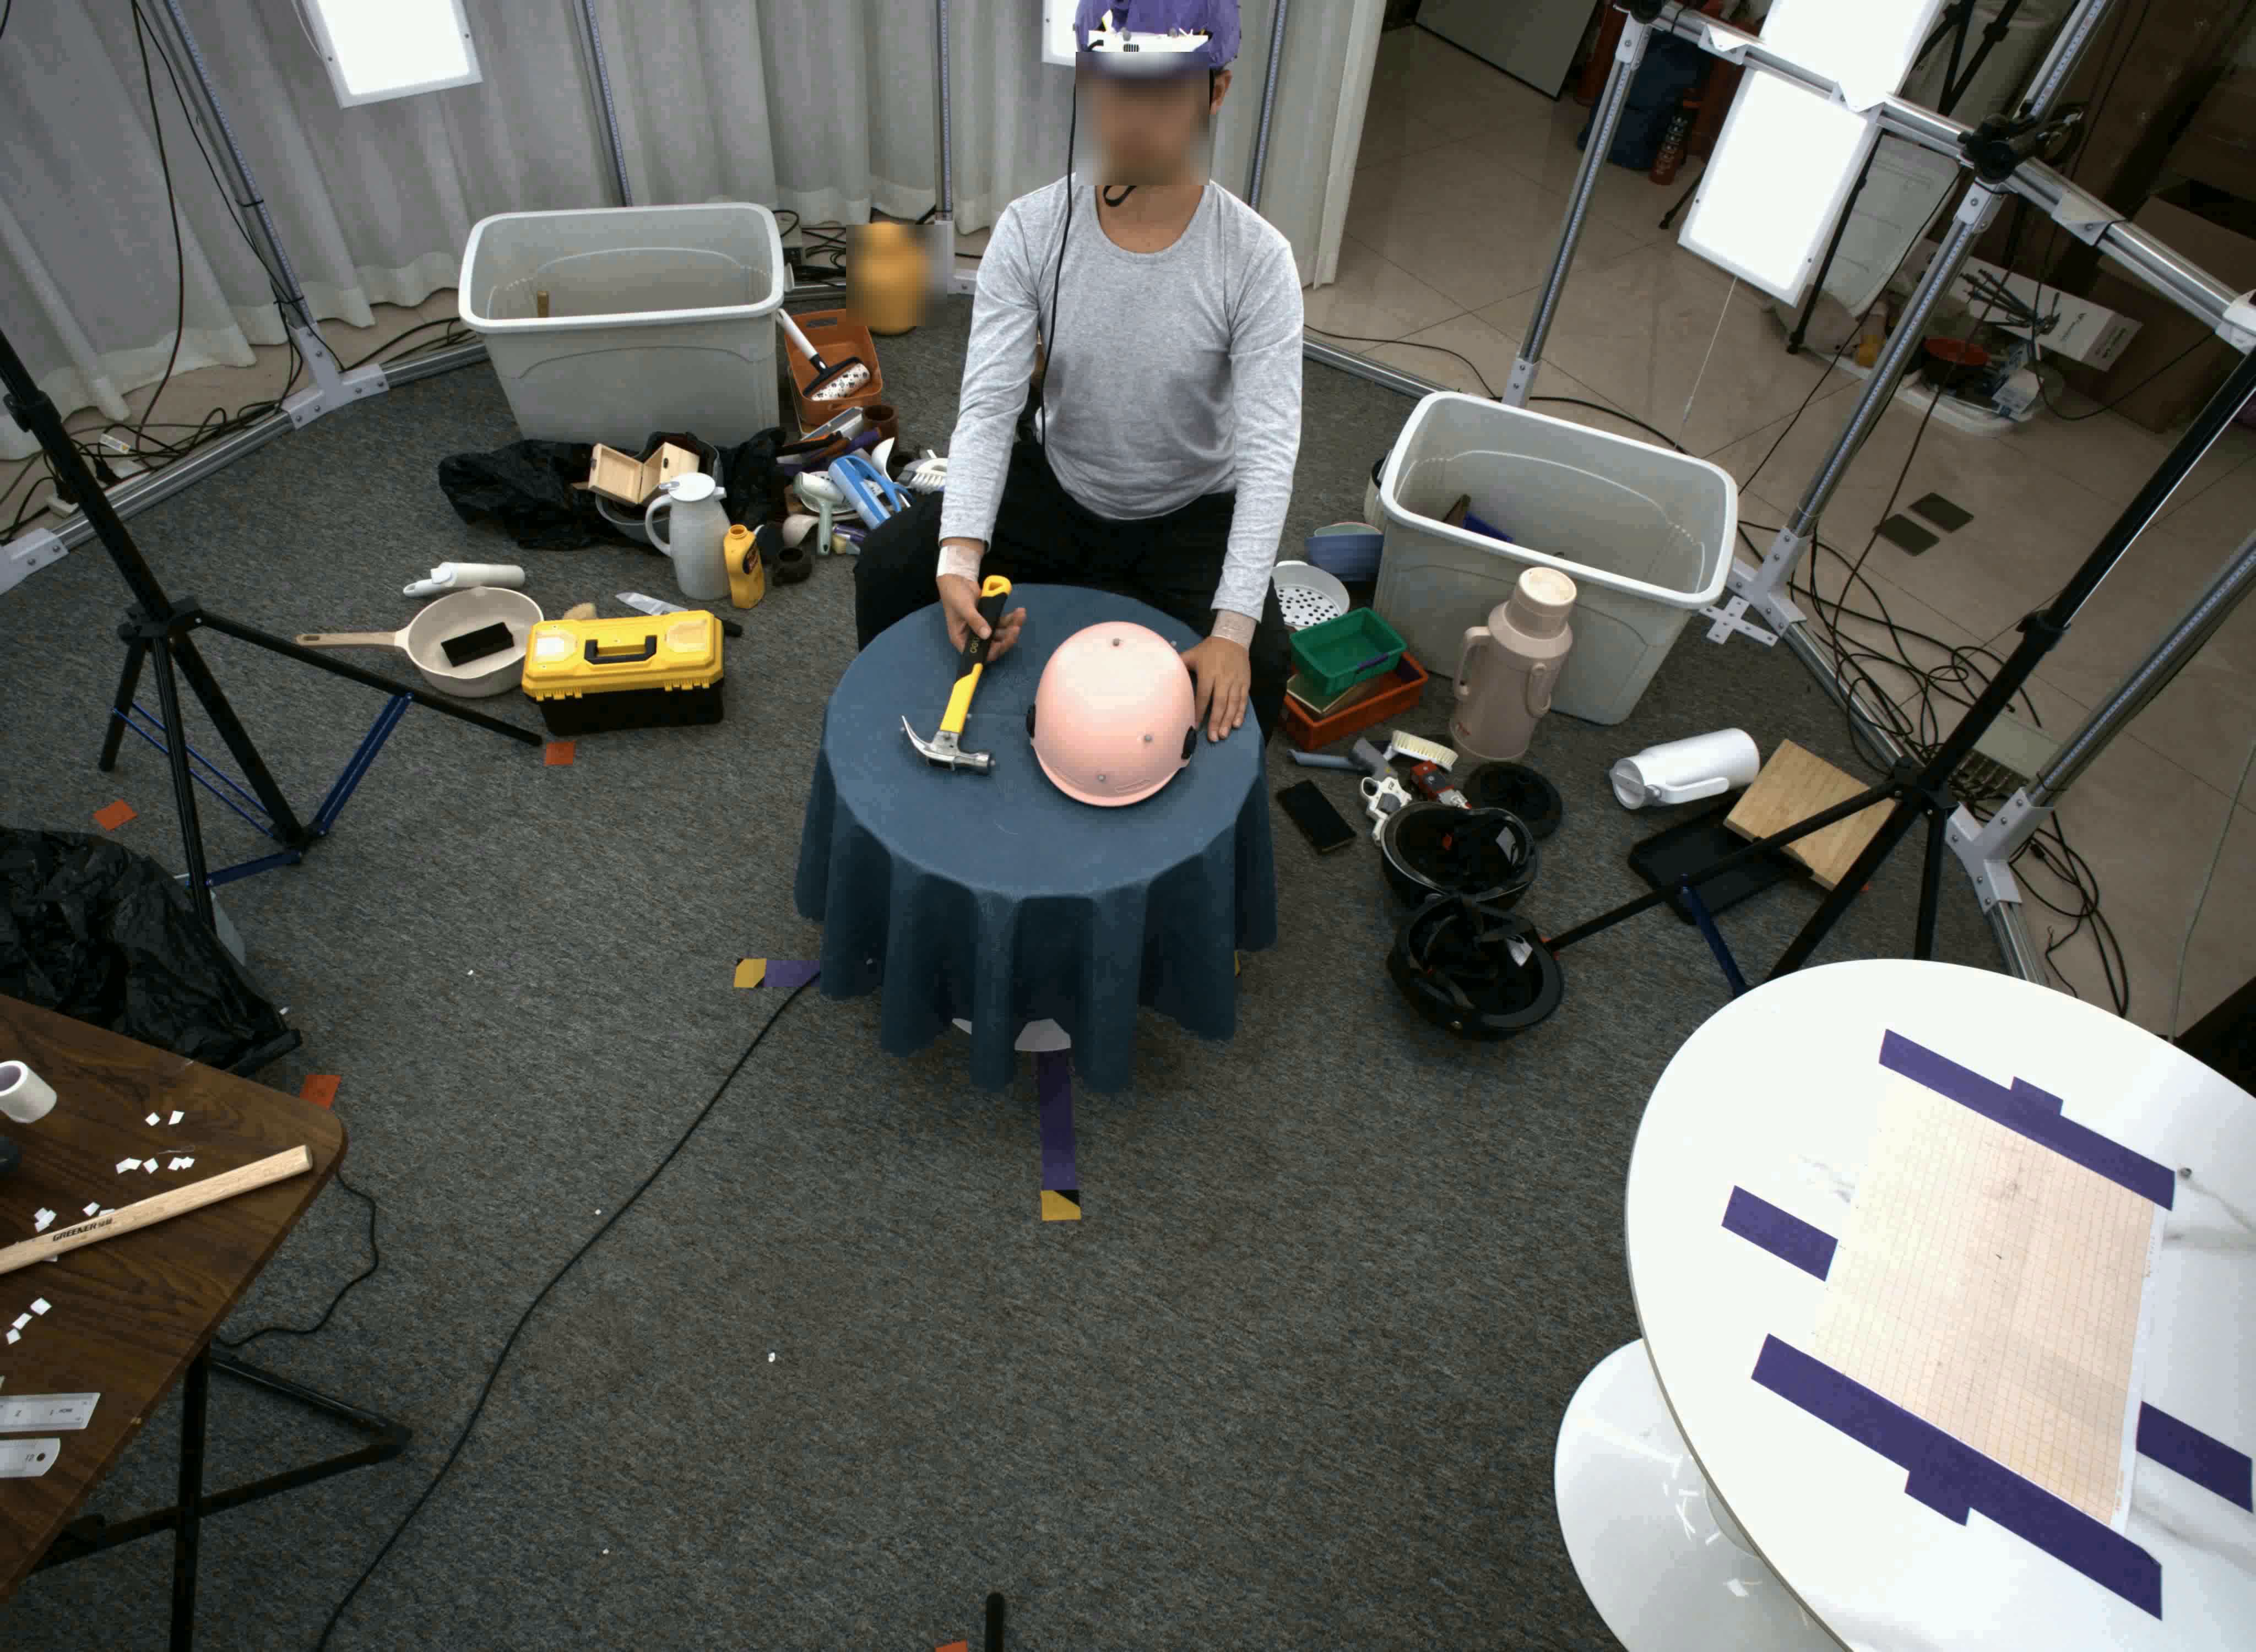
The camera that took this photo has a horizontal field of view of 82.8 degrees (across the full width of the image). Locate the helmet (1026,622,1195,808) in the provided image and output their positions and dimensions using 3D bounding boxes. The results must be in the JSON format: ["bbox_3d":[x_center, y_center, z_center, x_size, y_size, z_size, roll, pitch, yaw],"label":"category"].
[{"bbox_3d":[-0.019,-0.170,1.726,0.234,0.155,0.272,8,53,2],"label":"helmet"}]

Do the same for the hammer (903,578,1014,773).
[{"bbox_3d":[-0.219,-0.223,1.812,0.131,0.031,0.346,9,55,6],"label":"hammer"}]
